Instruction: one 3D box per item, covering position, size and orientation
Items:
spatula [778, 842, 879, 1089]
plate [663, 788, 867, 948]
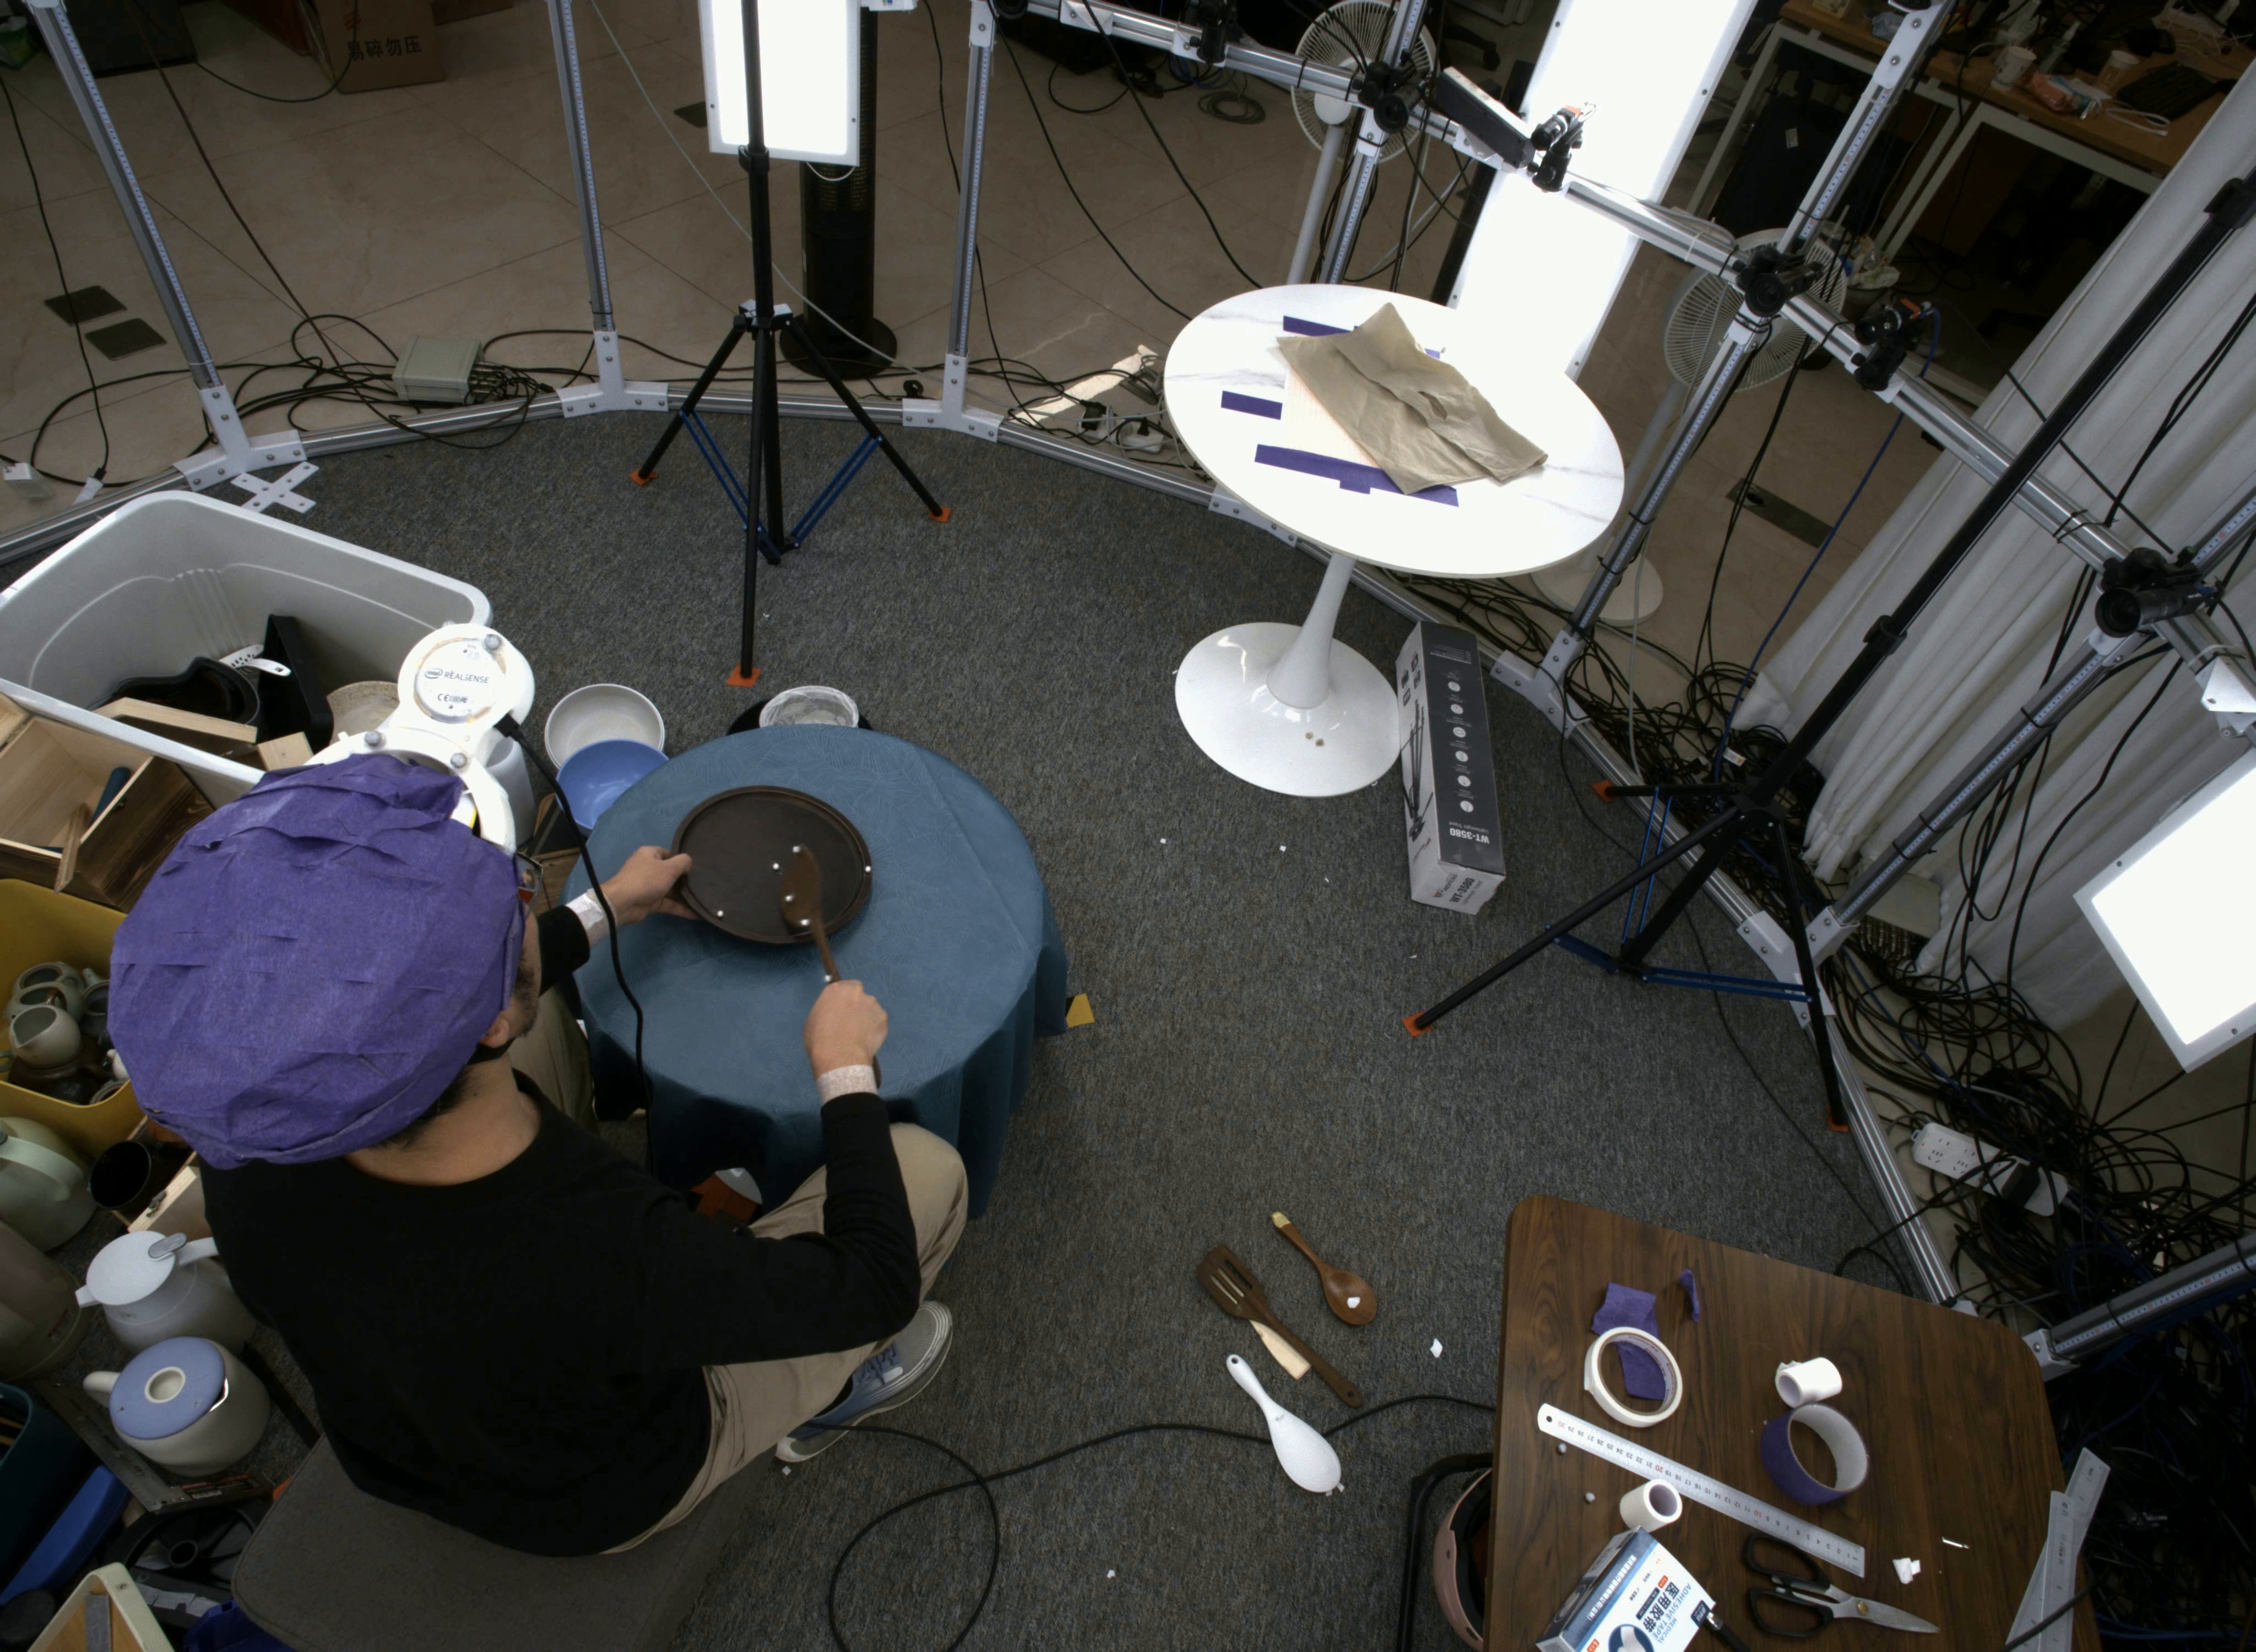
[{"bbox_3d":[-0.341,0.156,1.469,0.016,0.097,0.372,7,32,-34],"label":"spatula"},{"bbox_3d":[-0.457,0.050,1.634,0.256,0.029,0.250,16,45,-15],"label":"plate"}]
